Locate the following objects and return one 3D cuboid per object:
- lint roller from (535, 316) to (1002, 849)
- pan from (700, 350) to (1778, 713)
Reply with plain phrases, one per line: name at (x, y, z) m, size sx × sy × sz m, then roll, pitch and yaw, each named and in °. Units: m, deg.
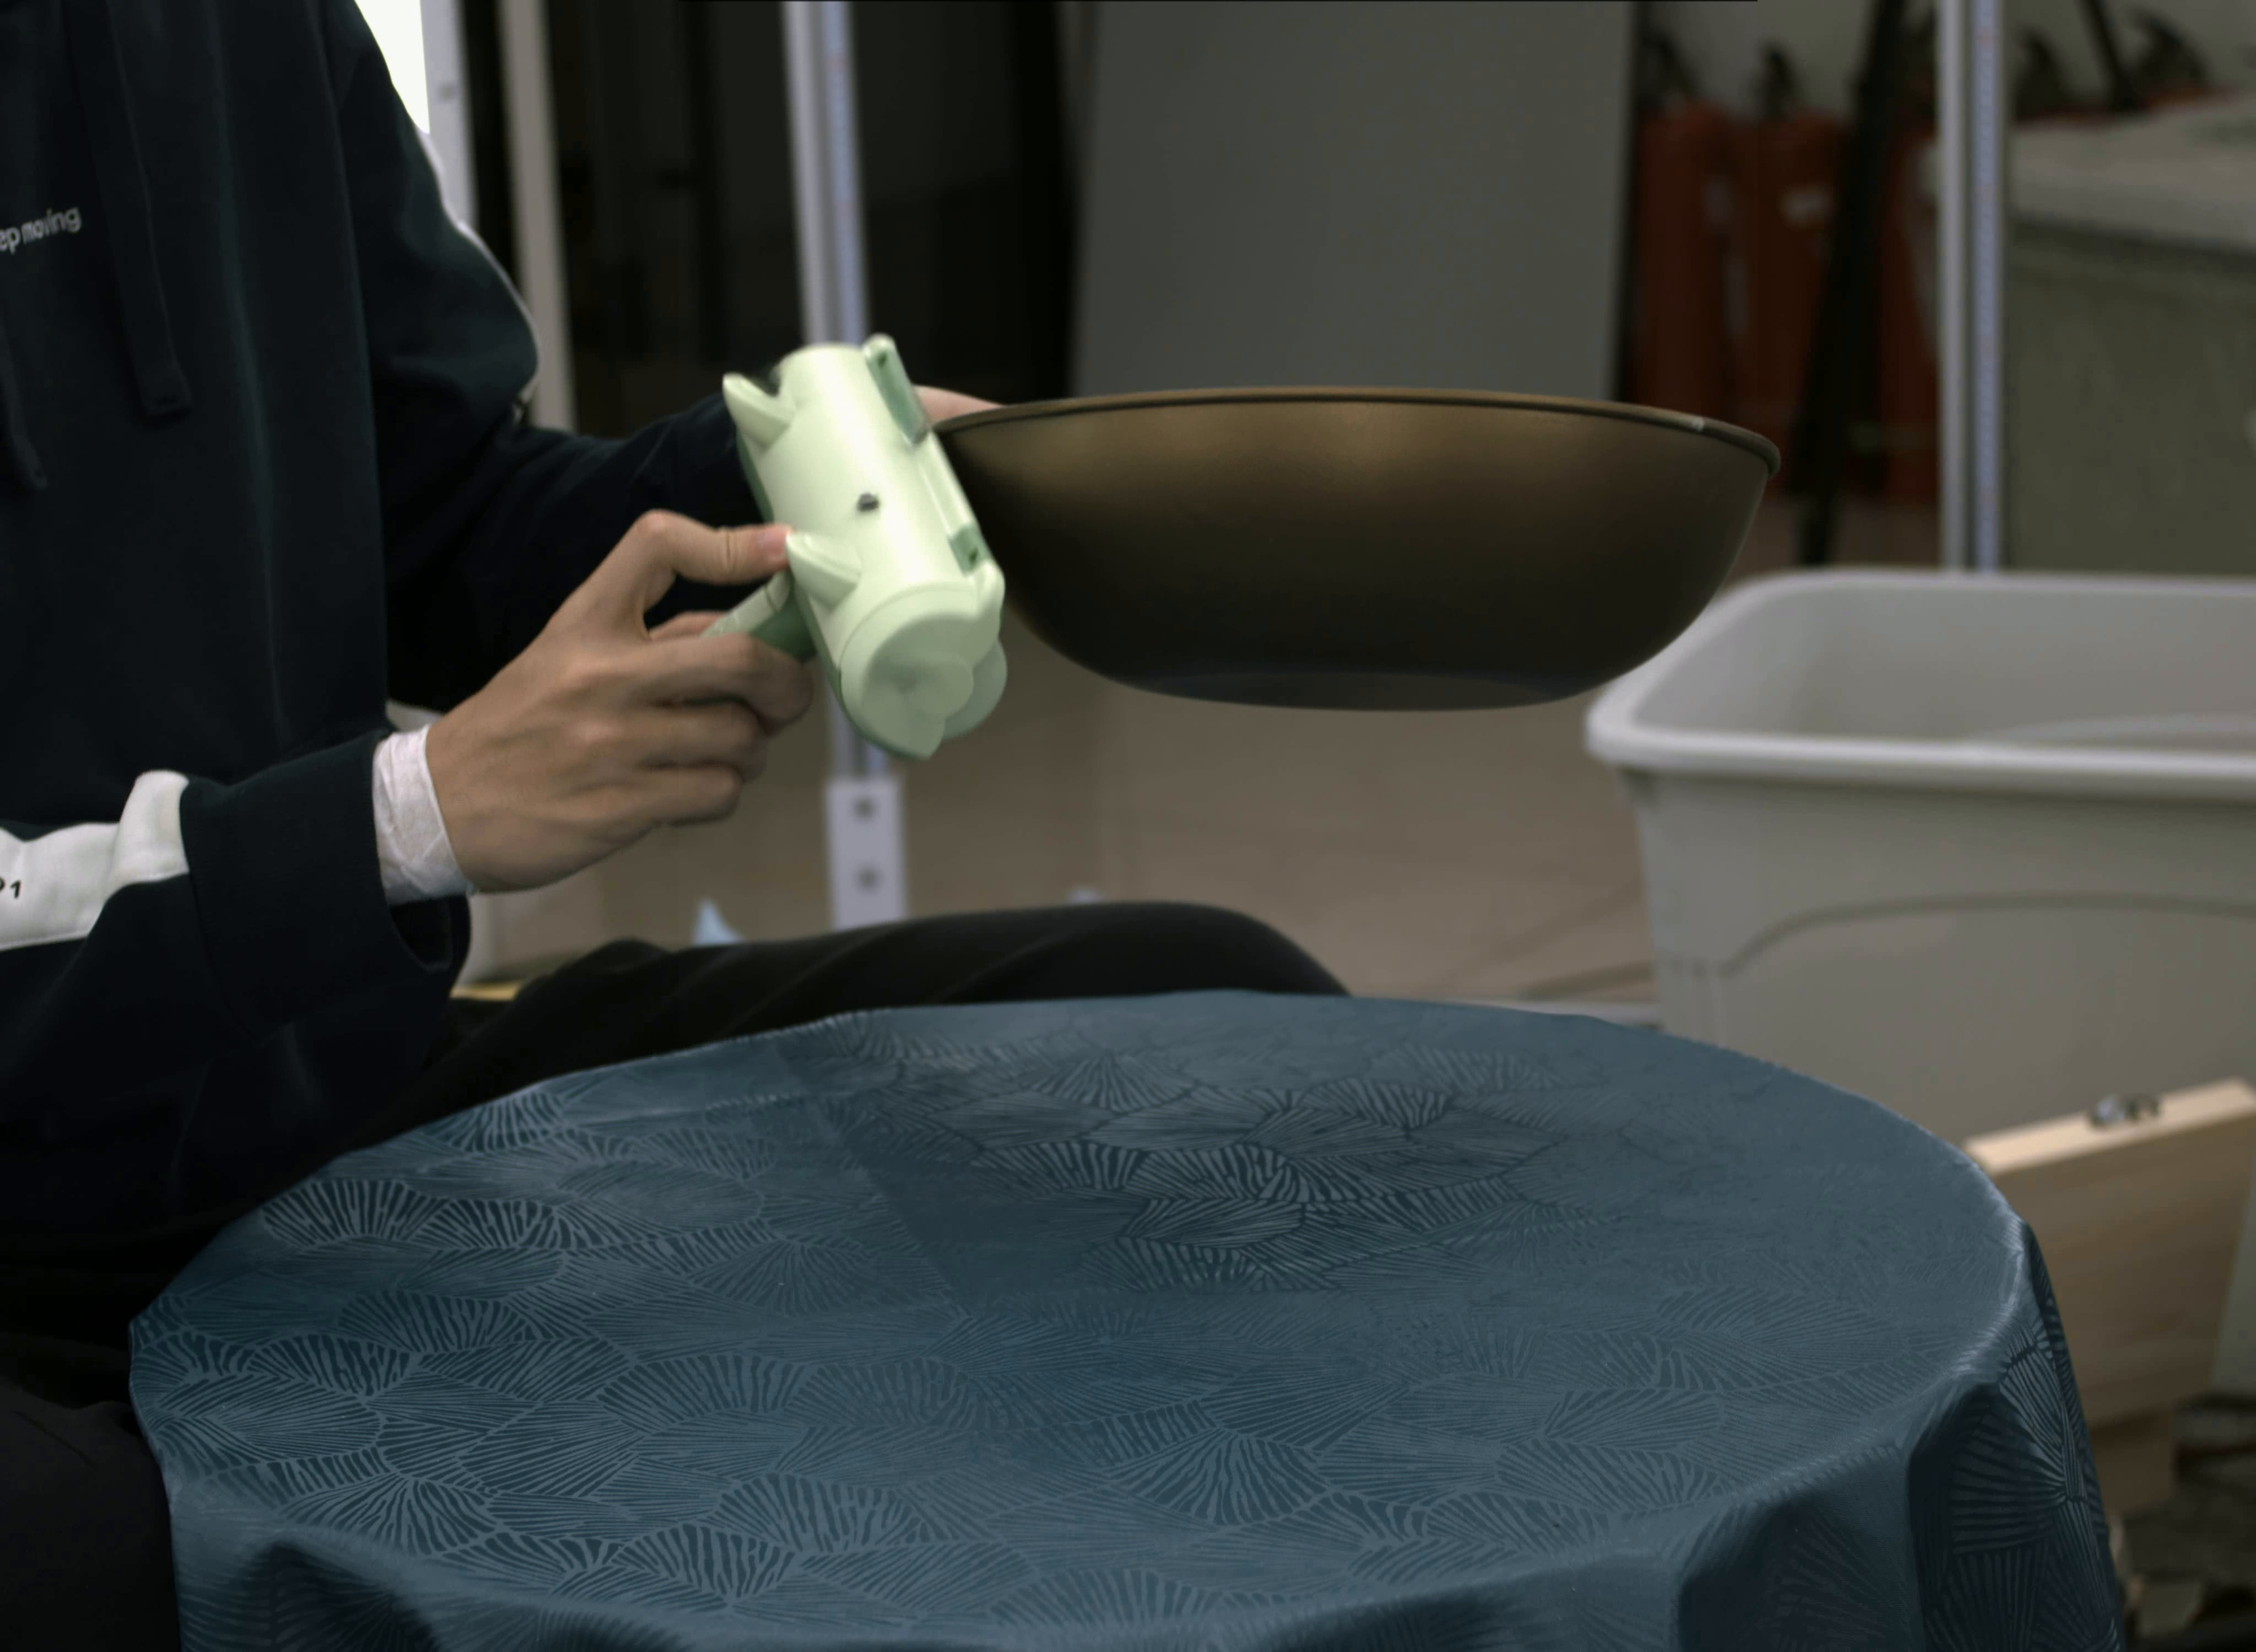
lint roller at (-0.132, -0.070, 1.721) m, size 0.183 × 0.081 × 0.200 m, roll -35°, pitch 32°, yaw 7°
pan at (0.006, -0.083, 1.815) m, size 0.282 × 0.088 × 0.467 m, roll 8°, pitch -8°, yaw -44°
